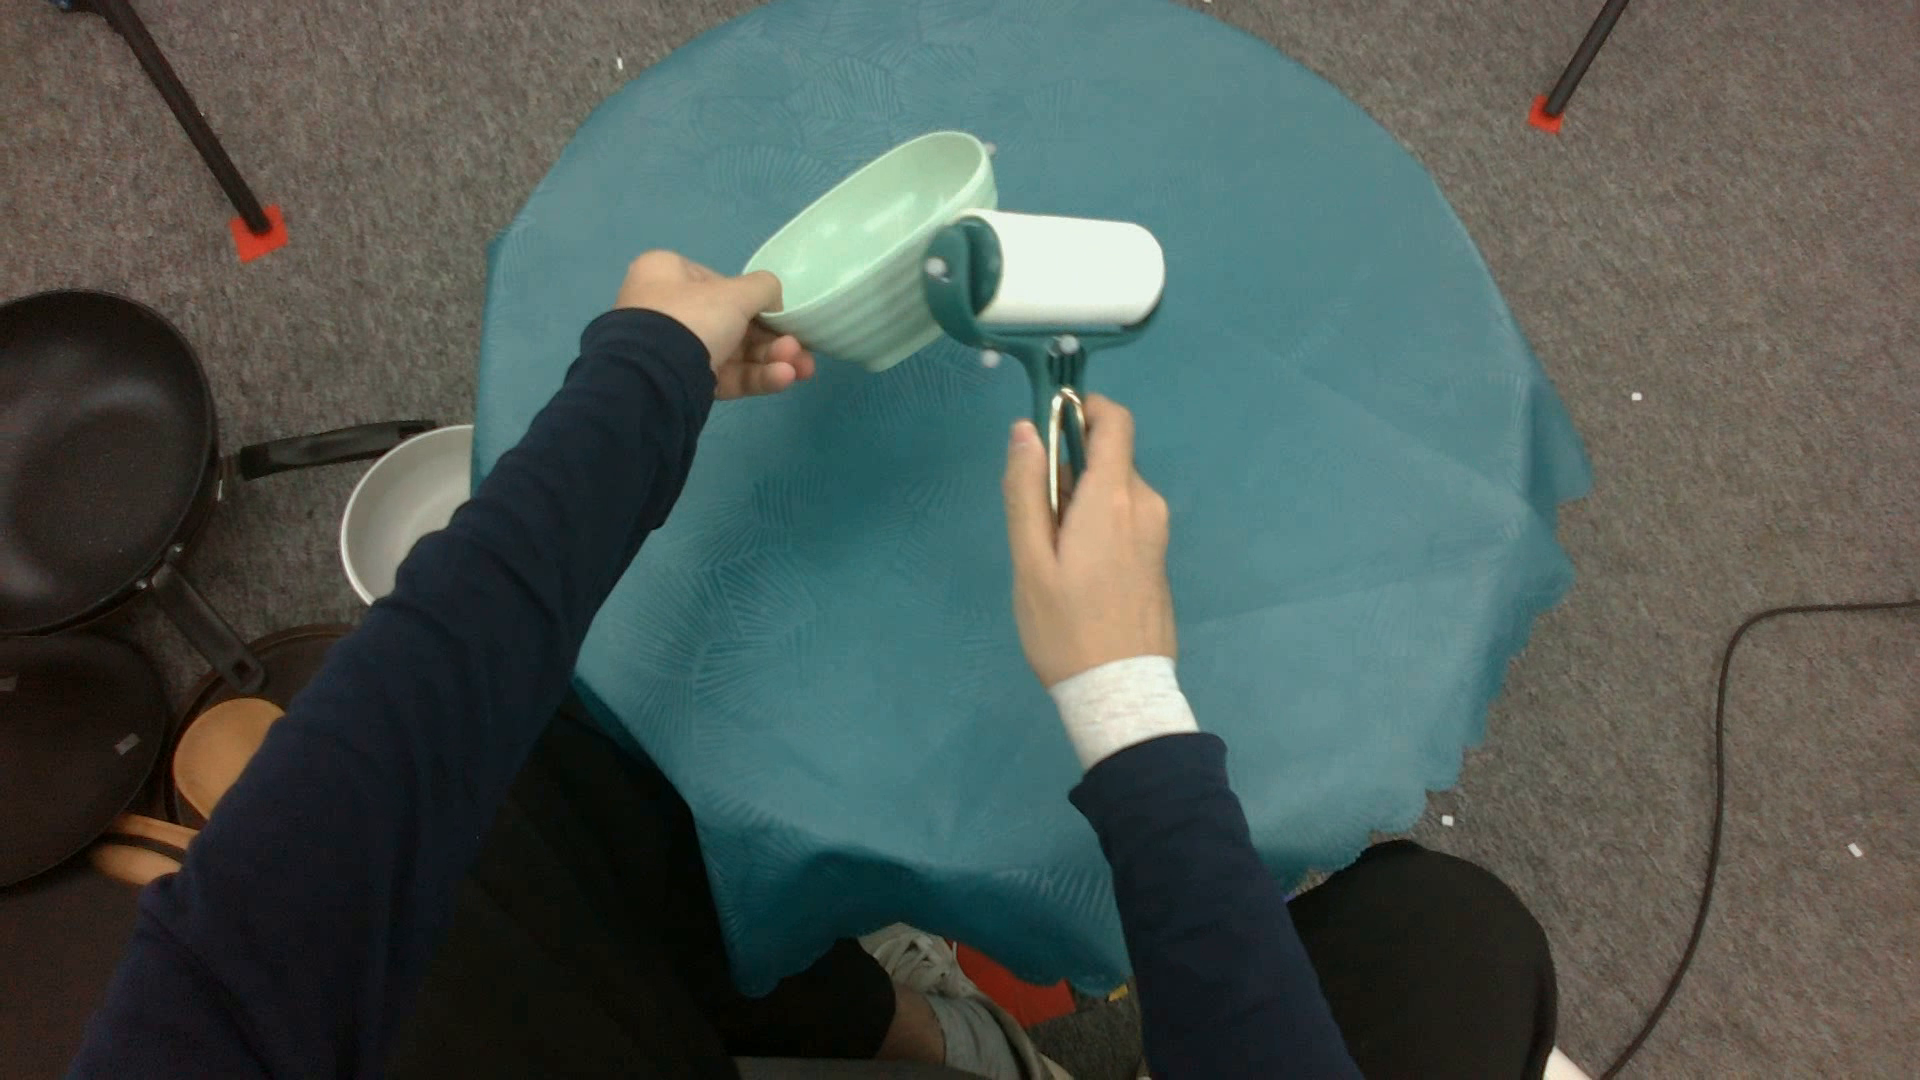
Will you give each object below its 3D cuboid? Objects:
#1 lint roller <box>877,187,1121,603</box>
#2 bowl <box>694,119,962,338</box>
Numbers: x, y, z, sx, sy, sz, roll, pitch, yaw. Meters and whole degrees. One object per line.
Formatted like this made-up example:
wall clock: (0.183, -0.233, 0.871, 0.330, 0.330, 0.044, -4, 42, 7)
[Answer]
lint roller: (0.030, -0.063, 0.603, 0.135, 0.048, 0.180, -10, 90, -44)
bowl: (-0.054, -0.146, 0.671, 0.152, 0.151, 0.058, -37, 114, -20)
